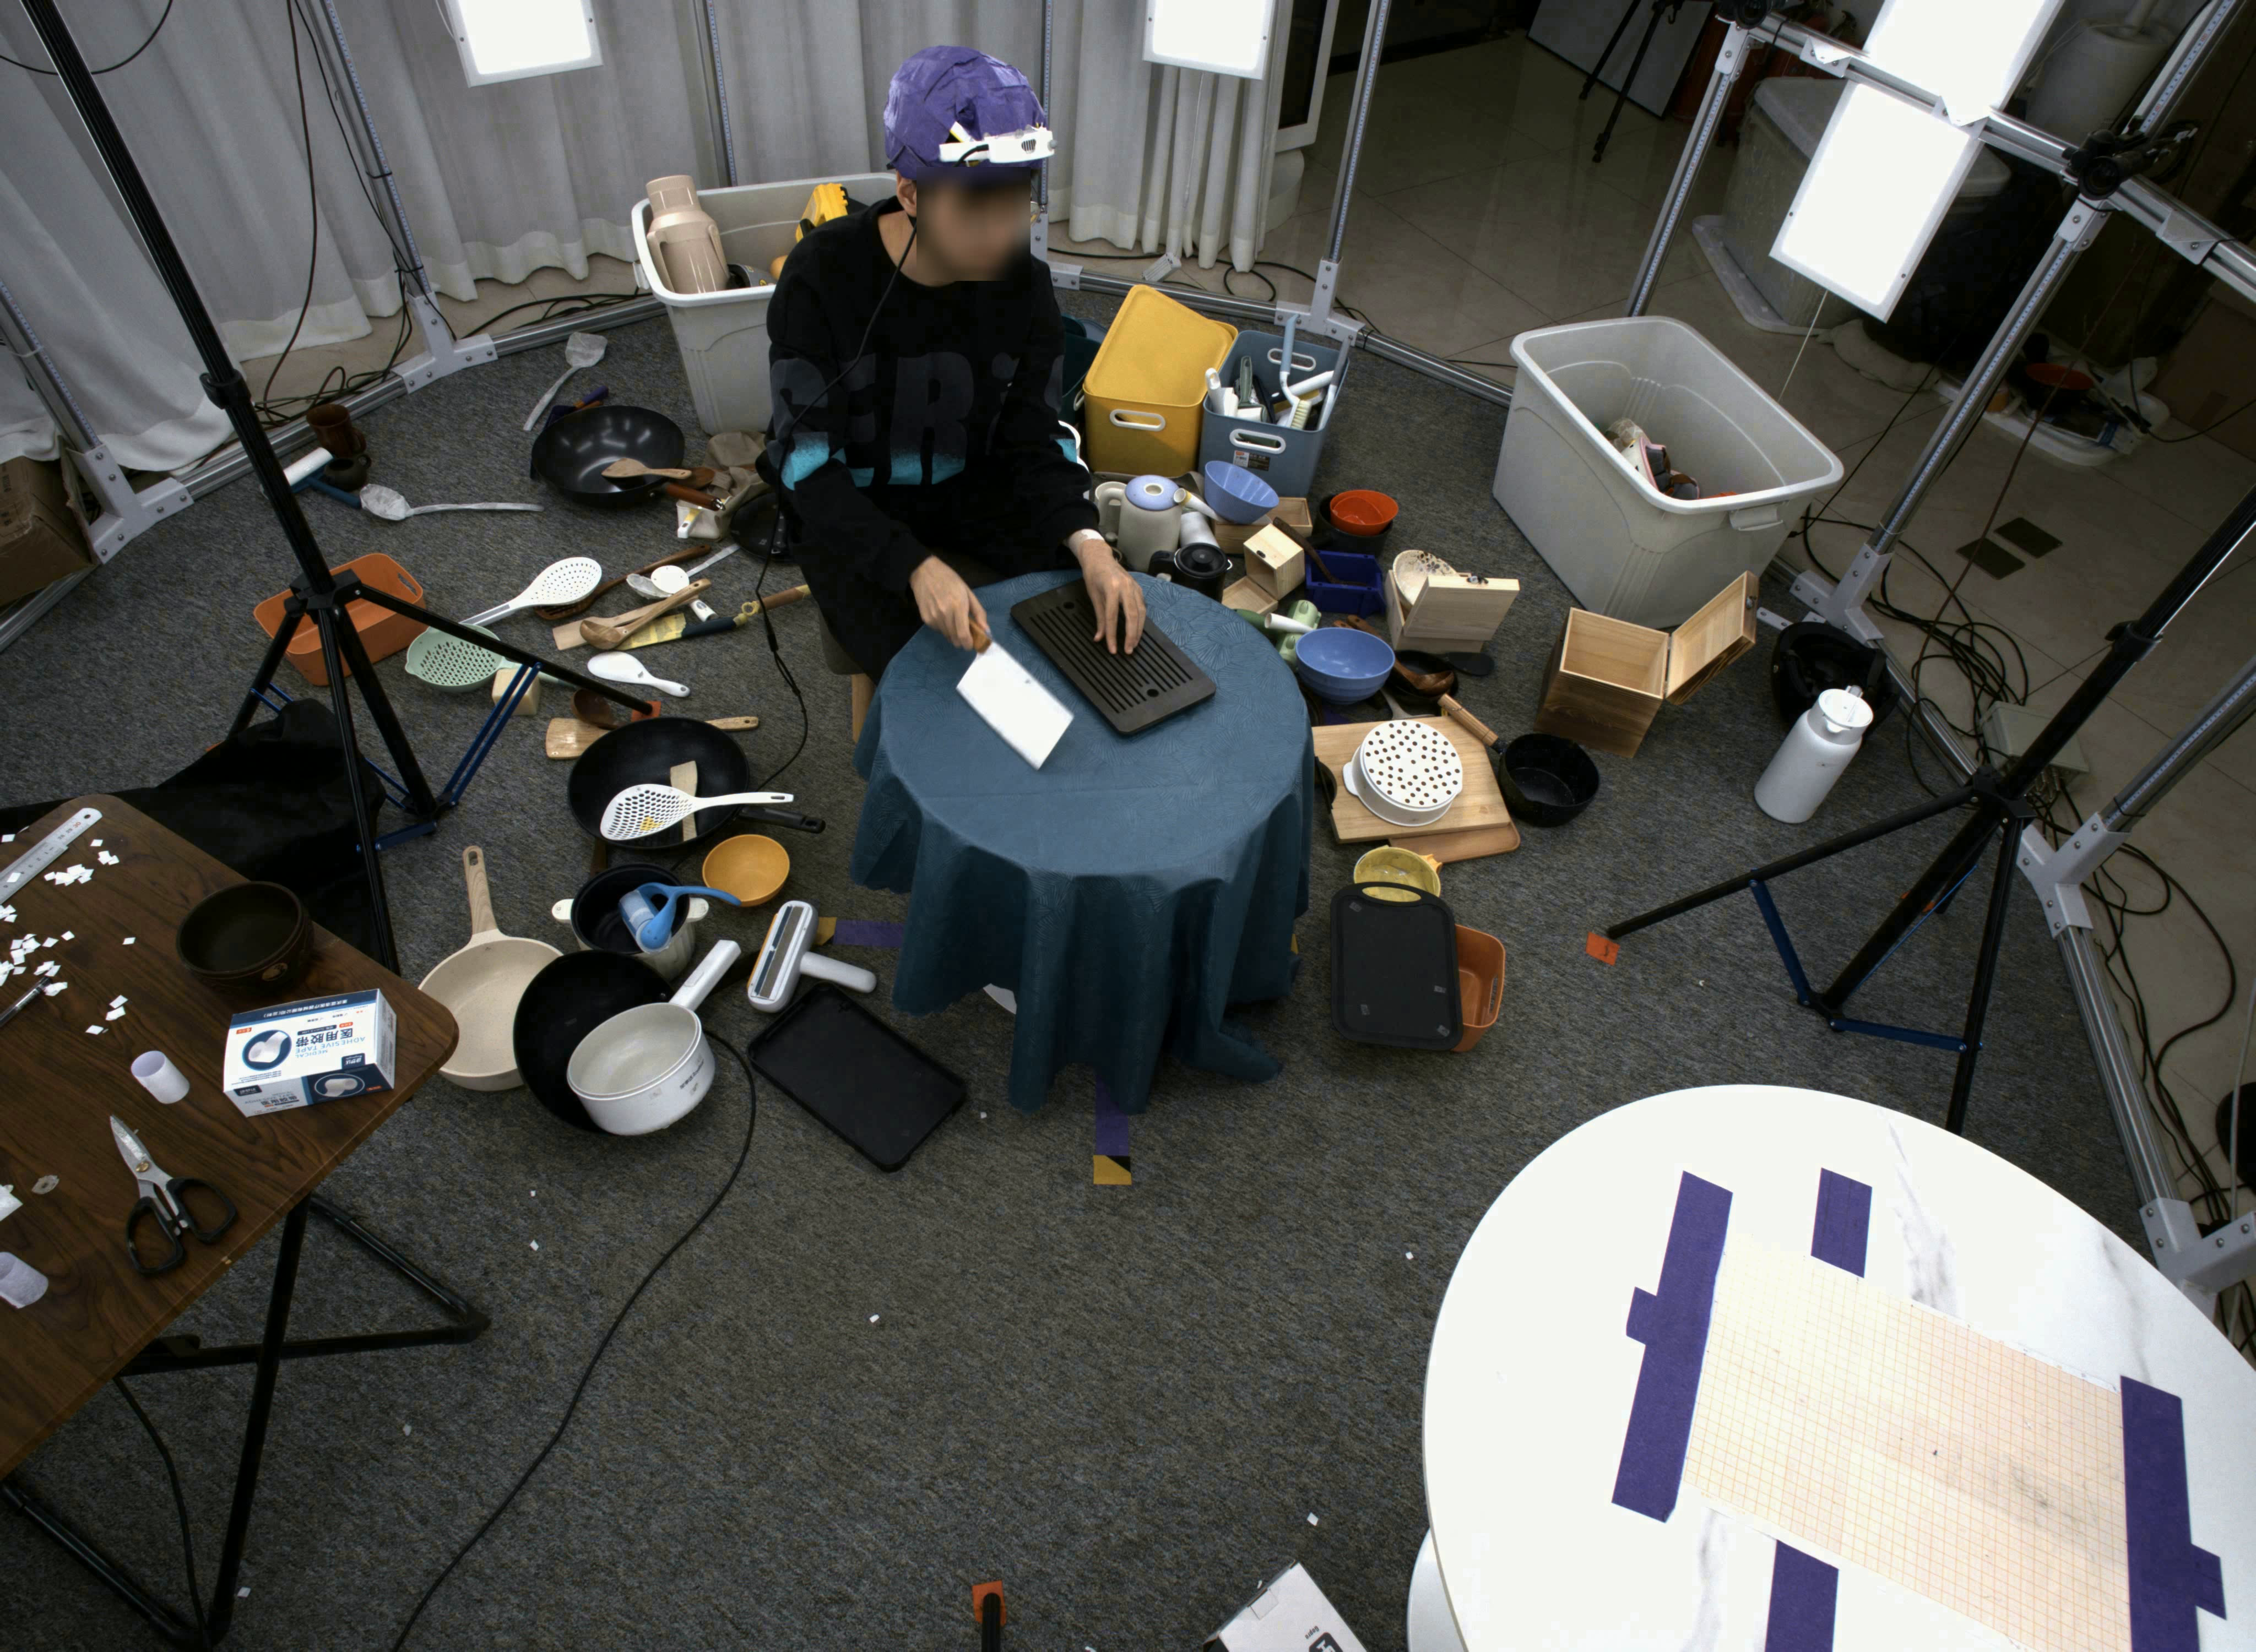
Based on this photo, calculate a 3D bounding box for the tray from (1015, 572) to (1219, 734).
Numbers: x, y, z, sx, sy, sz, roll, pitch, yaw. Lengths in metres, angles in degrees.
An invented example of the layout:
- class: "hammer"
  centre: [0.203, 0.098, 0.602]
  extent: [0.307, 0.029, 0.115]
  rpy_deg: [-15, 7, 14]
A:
- class: "tray"
  centre: [-0.019, -0.257, 1.878]
  extent: [0.171, 0.018, 0.312]
  rpy_deg: [-25, 55, -23]

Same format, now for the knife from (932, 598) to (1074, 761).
- class: "knife"
  centre: [-0.190, -0.202, 1.780]
  extent: [0.311, 0.092, 0.021]
  rpy_deg: [45, 16, 29]
